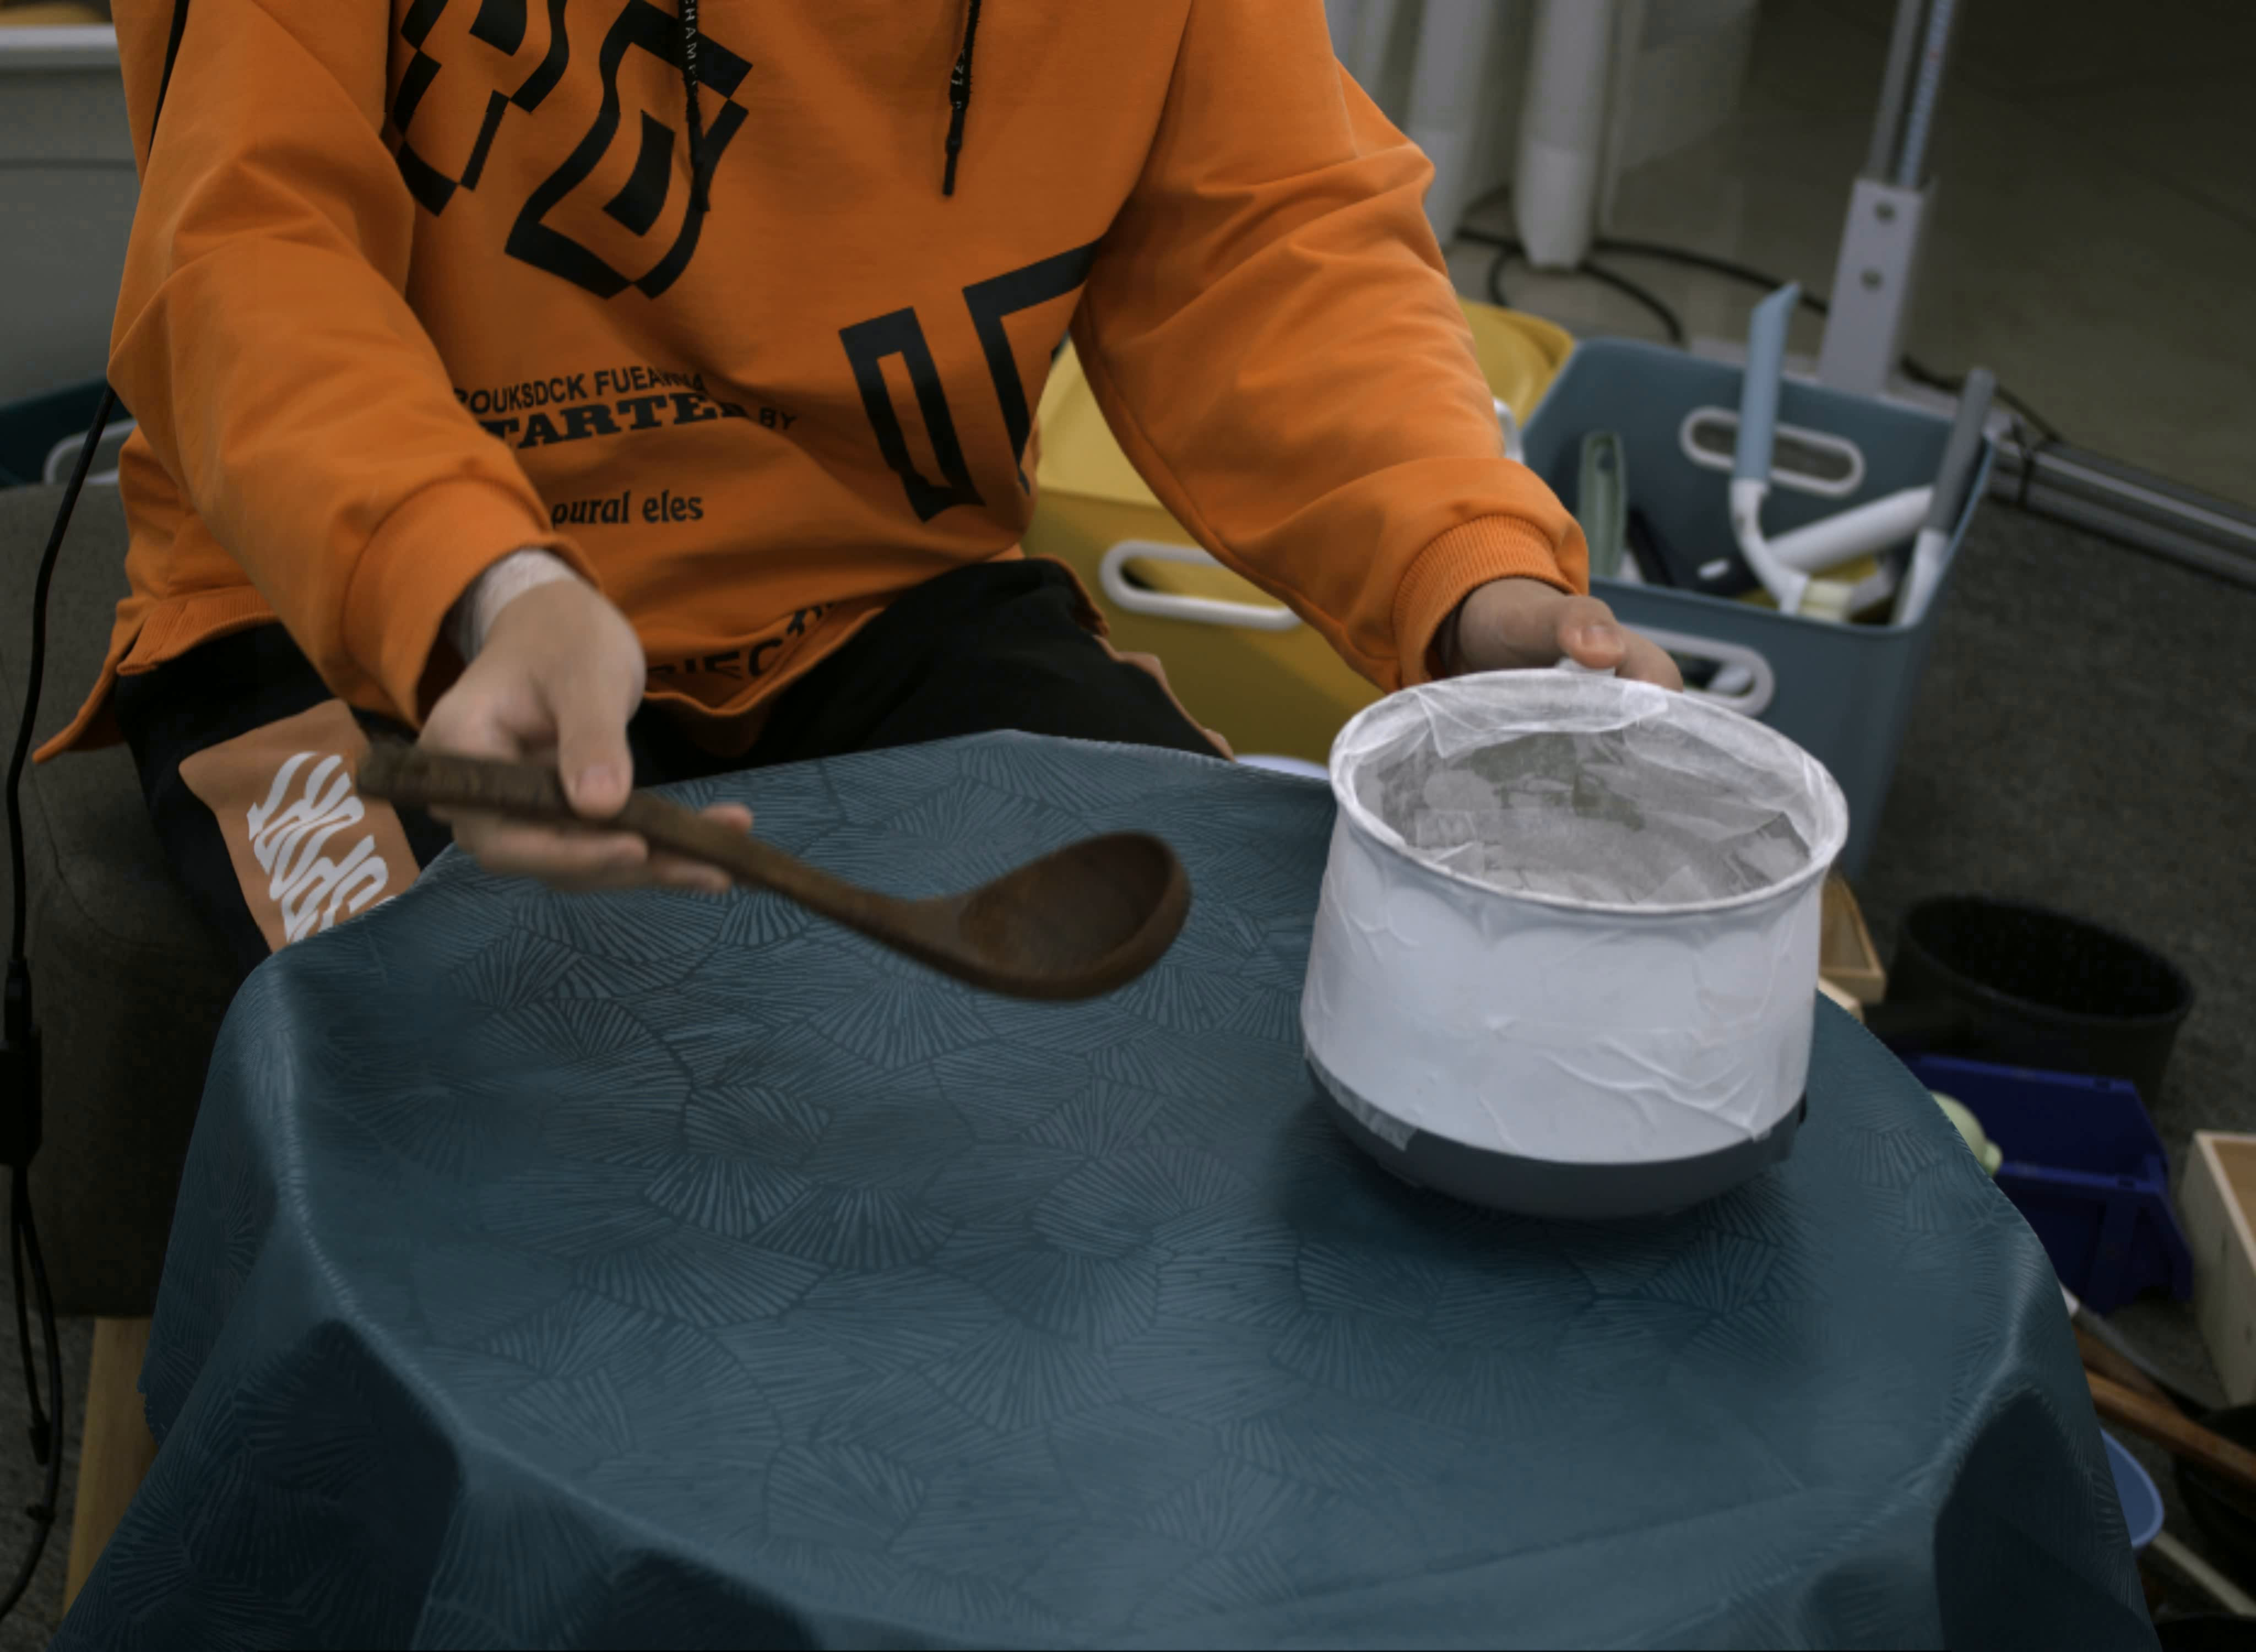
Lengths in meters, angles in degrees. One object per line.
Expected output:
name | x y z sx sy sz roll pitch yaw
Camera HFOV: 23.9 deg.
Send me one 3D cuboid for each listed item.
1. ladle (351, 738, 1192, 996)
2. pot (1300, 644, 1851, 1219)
ladle | -0.112 -0.005 1.731 0.272 0.071 0.076 19 24 -17
pot | 0.151 0.029 1.844 0.178 0.136 0.235 6 27 0
